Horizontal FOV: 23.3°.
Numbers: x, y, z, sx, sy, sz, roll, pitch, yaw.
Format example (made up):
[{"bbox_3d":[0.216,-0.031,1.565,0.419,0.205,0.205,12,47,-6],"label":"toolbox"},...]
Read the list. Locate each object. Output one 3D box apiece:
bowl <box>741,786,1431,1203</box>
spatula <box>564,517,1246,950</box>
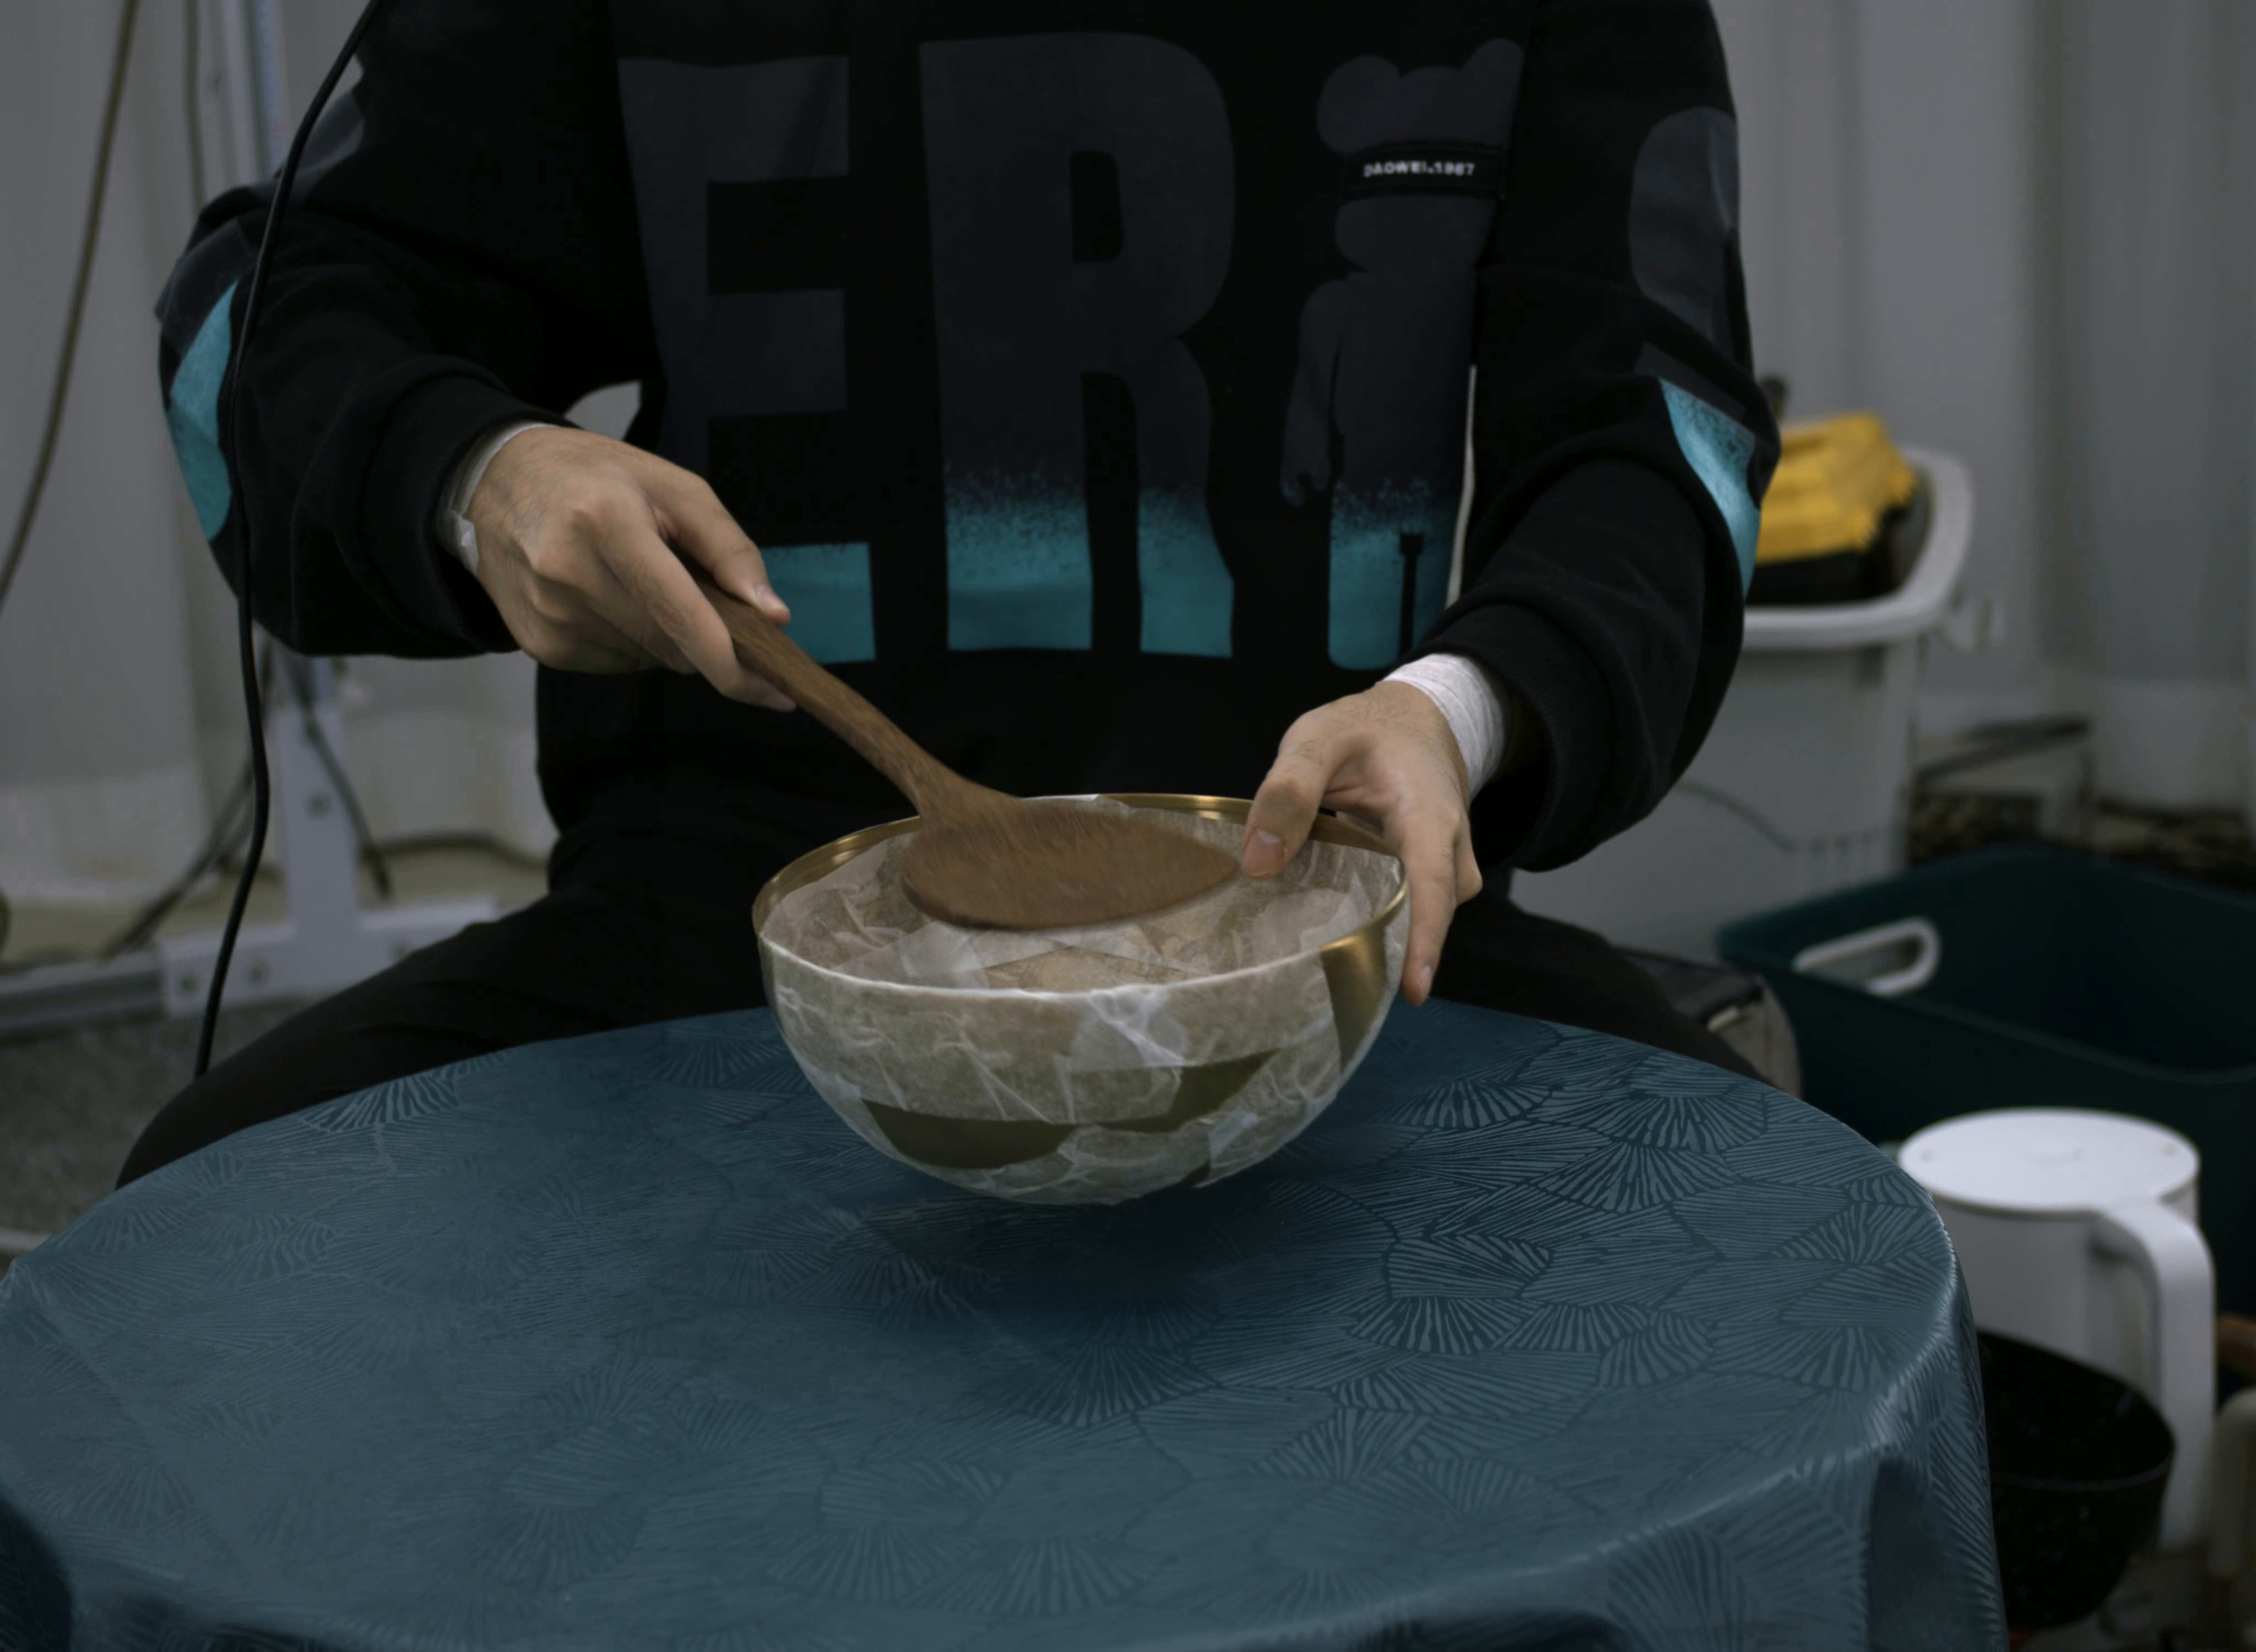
[{"bbox_3d":[-0.010,0.059,1.662,0.214,0.094,0.216,-4,15,1],"label":"bowl"},{"bbox_3d":[-0.093,-0.037,1.757,0.096,0.015,0.390,-12,27,-28],"label":"spatula"}]
